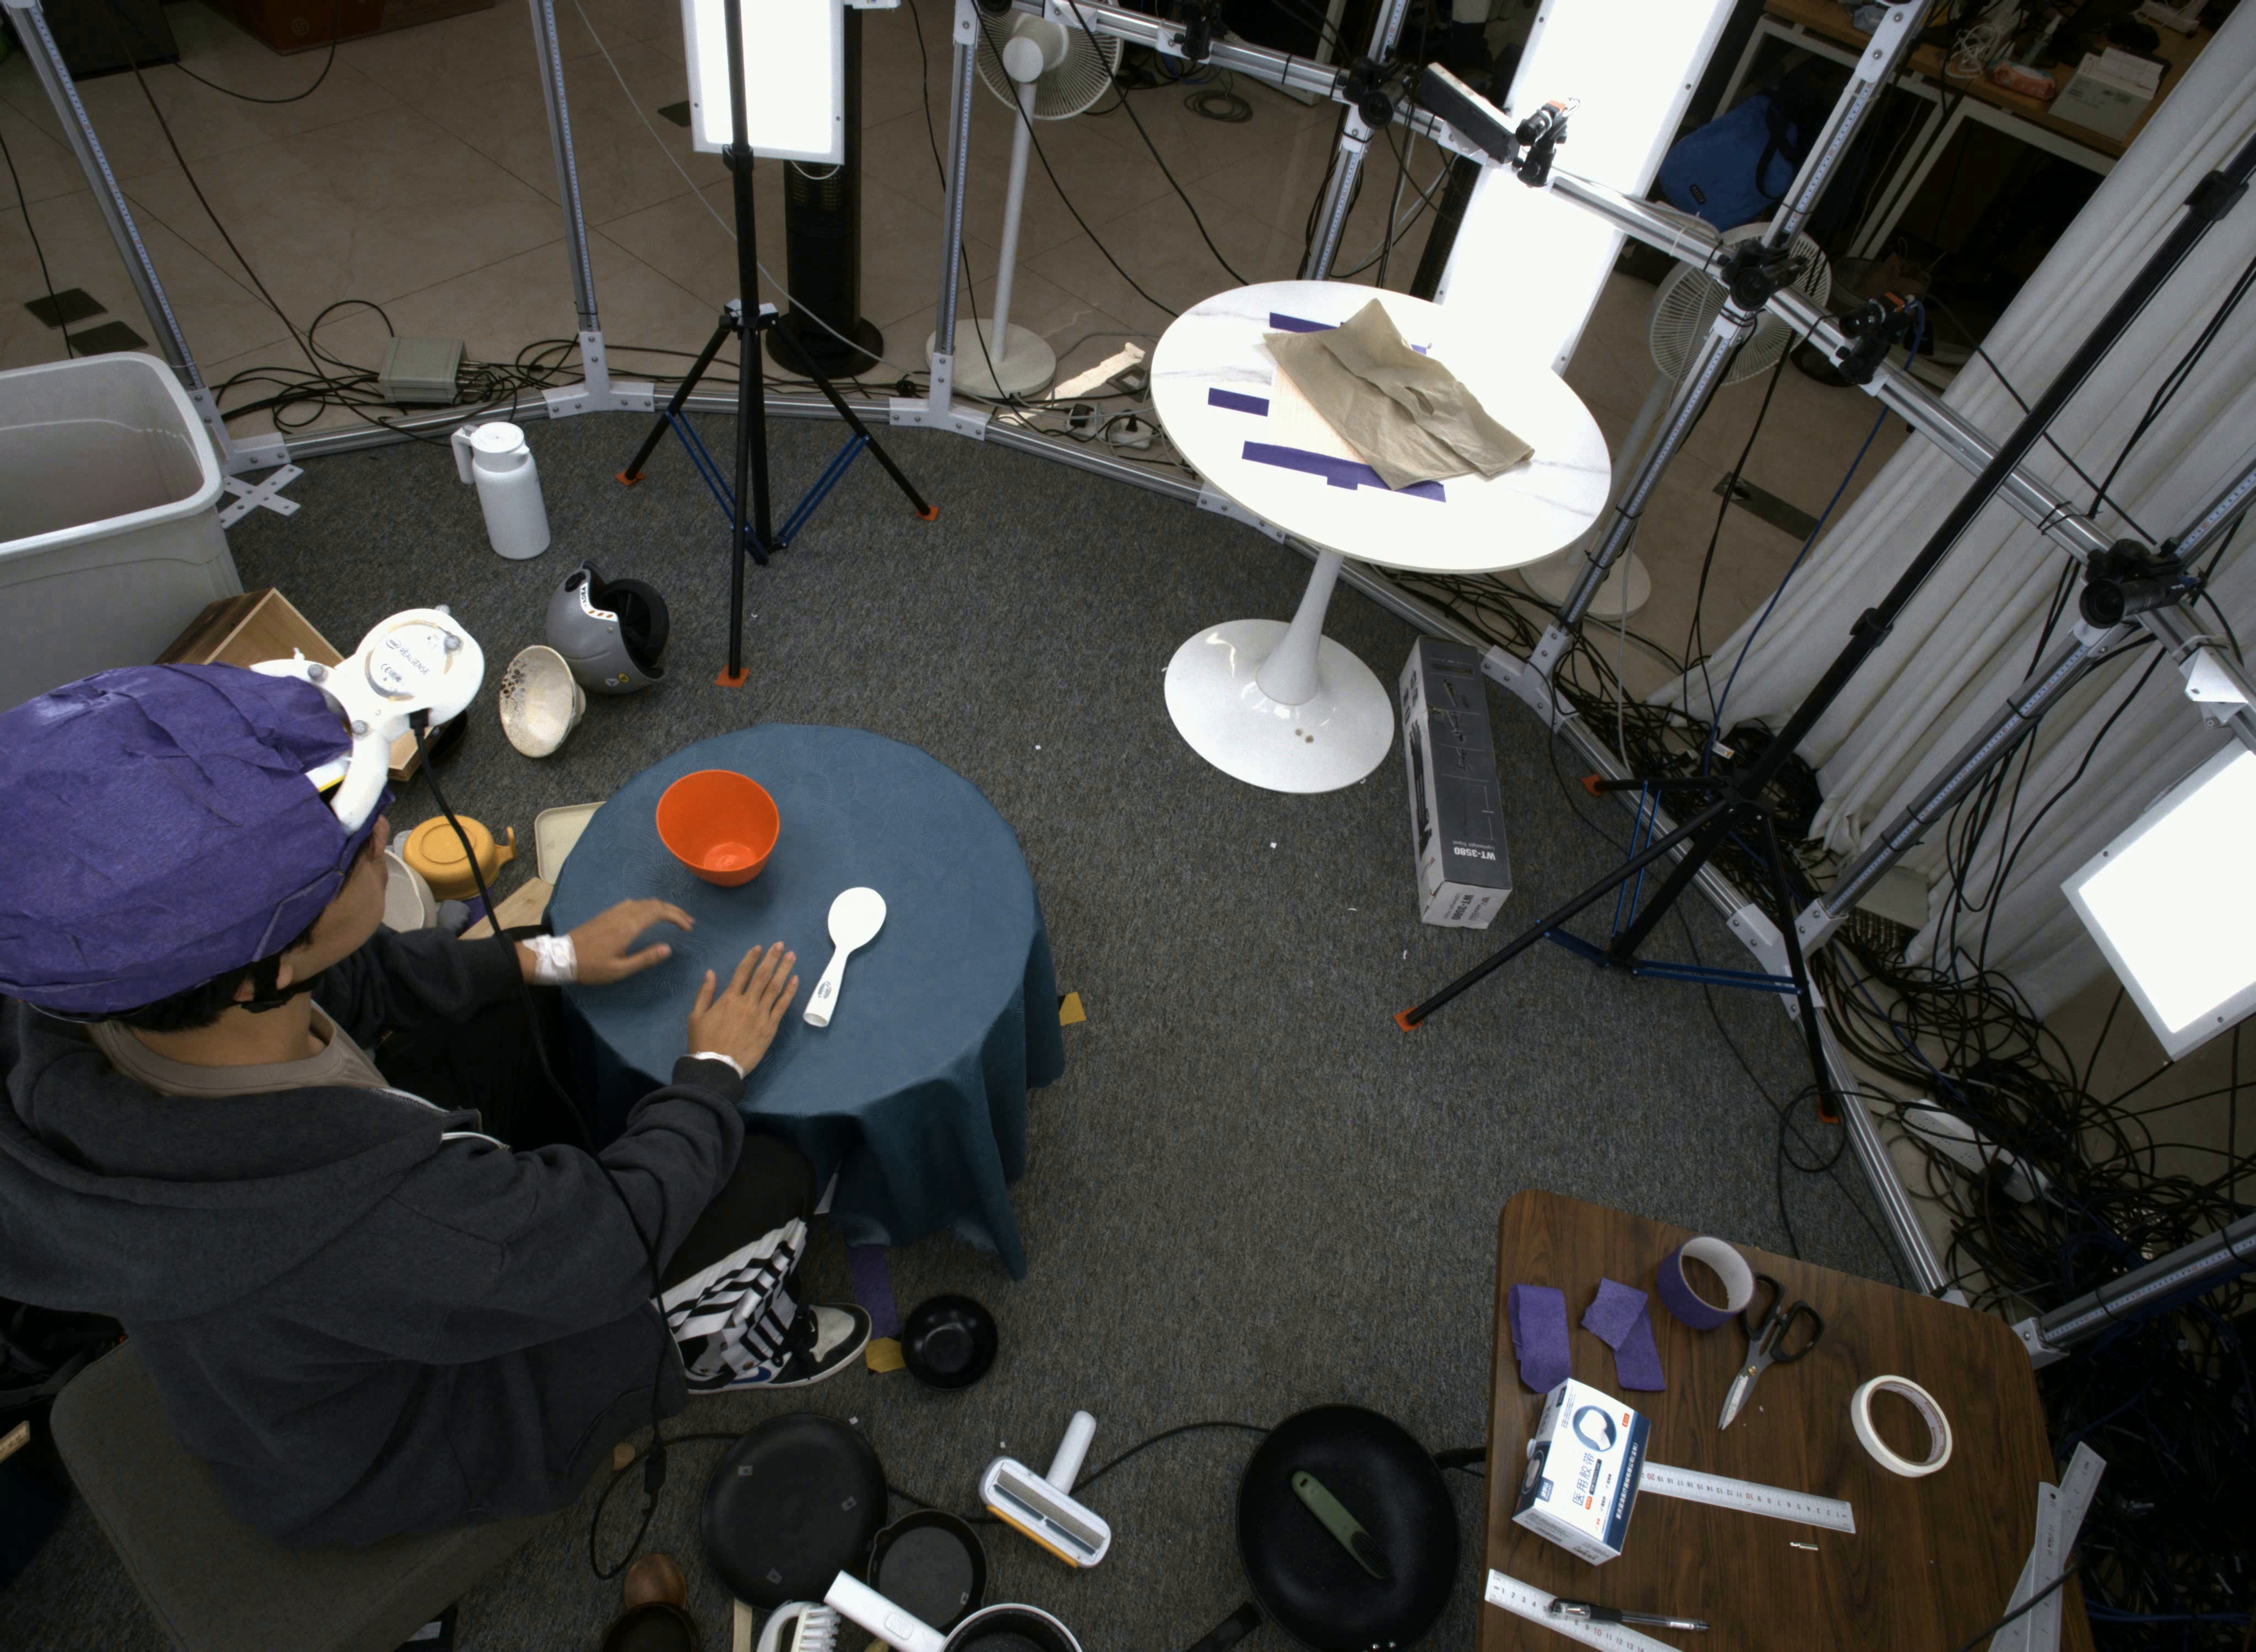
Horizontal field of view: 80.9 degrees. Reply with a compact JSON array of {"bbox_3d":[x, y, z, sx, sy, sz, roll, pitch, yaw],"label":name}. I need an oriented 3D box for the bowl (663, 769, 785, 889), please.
[{"bbox_3d":[-0.507,0.015,1.632,0.148,0.106,0.145,8,52,-9],"label":"bowl"}]

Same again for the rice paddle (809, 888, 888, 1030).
[{"bbox_3d":[-0.350,0.155,1.613,0.068,0.030,0.202,15,51,-4],"label":"rice paddle"}]
